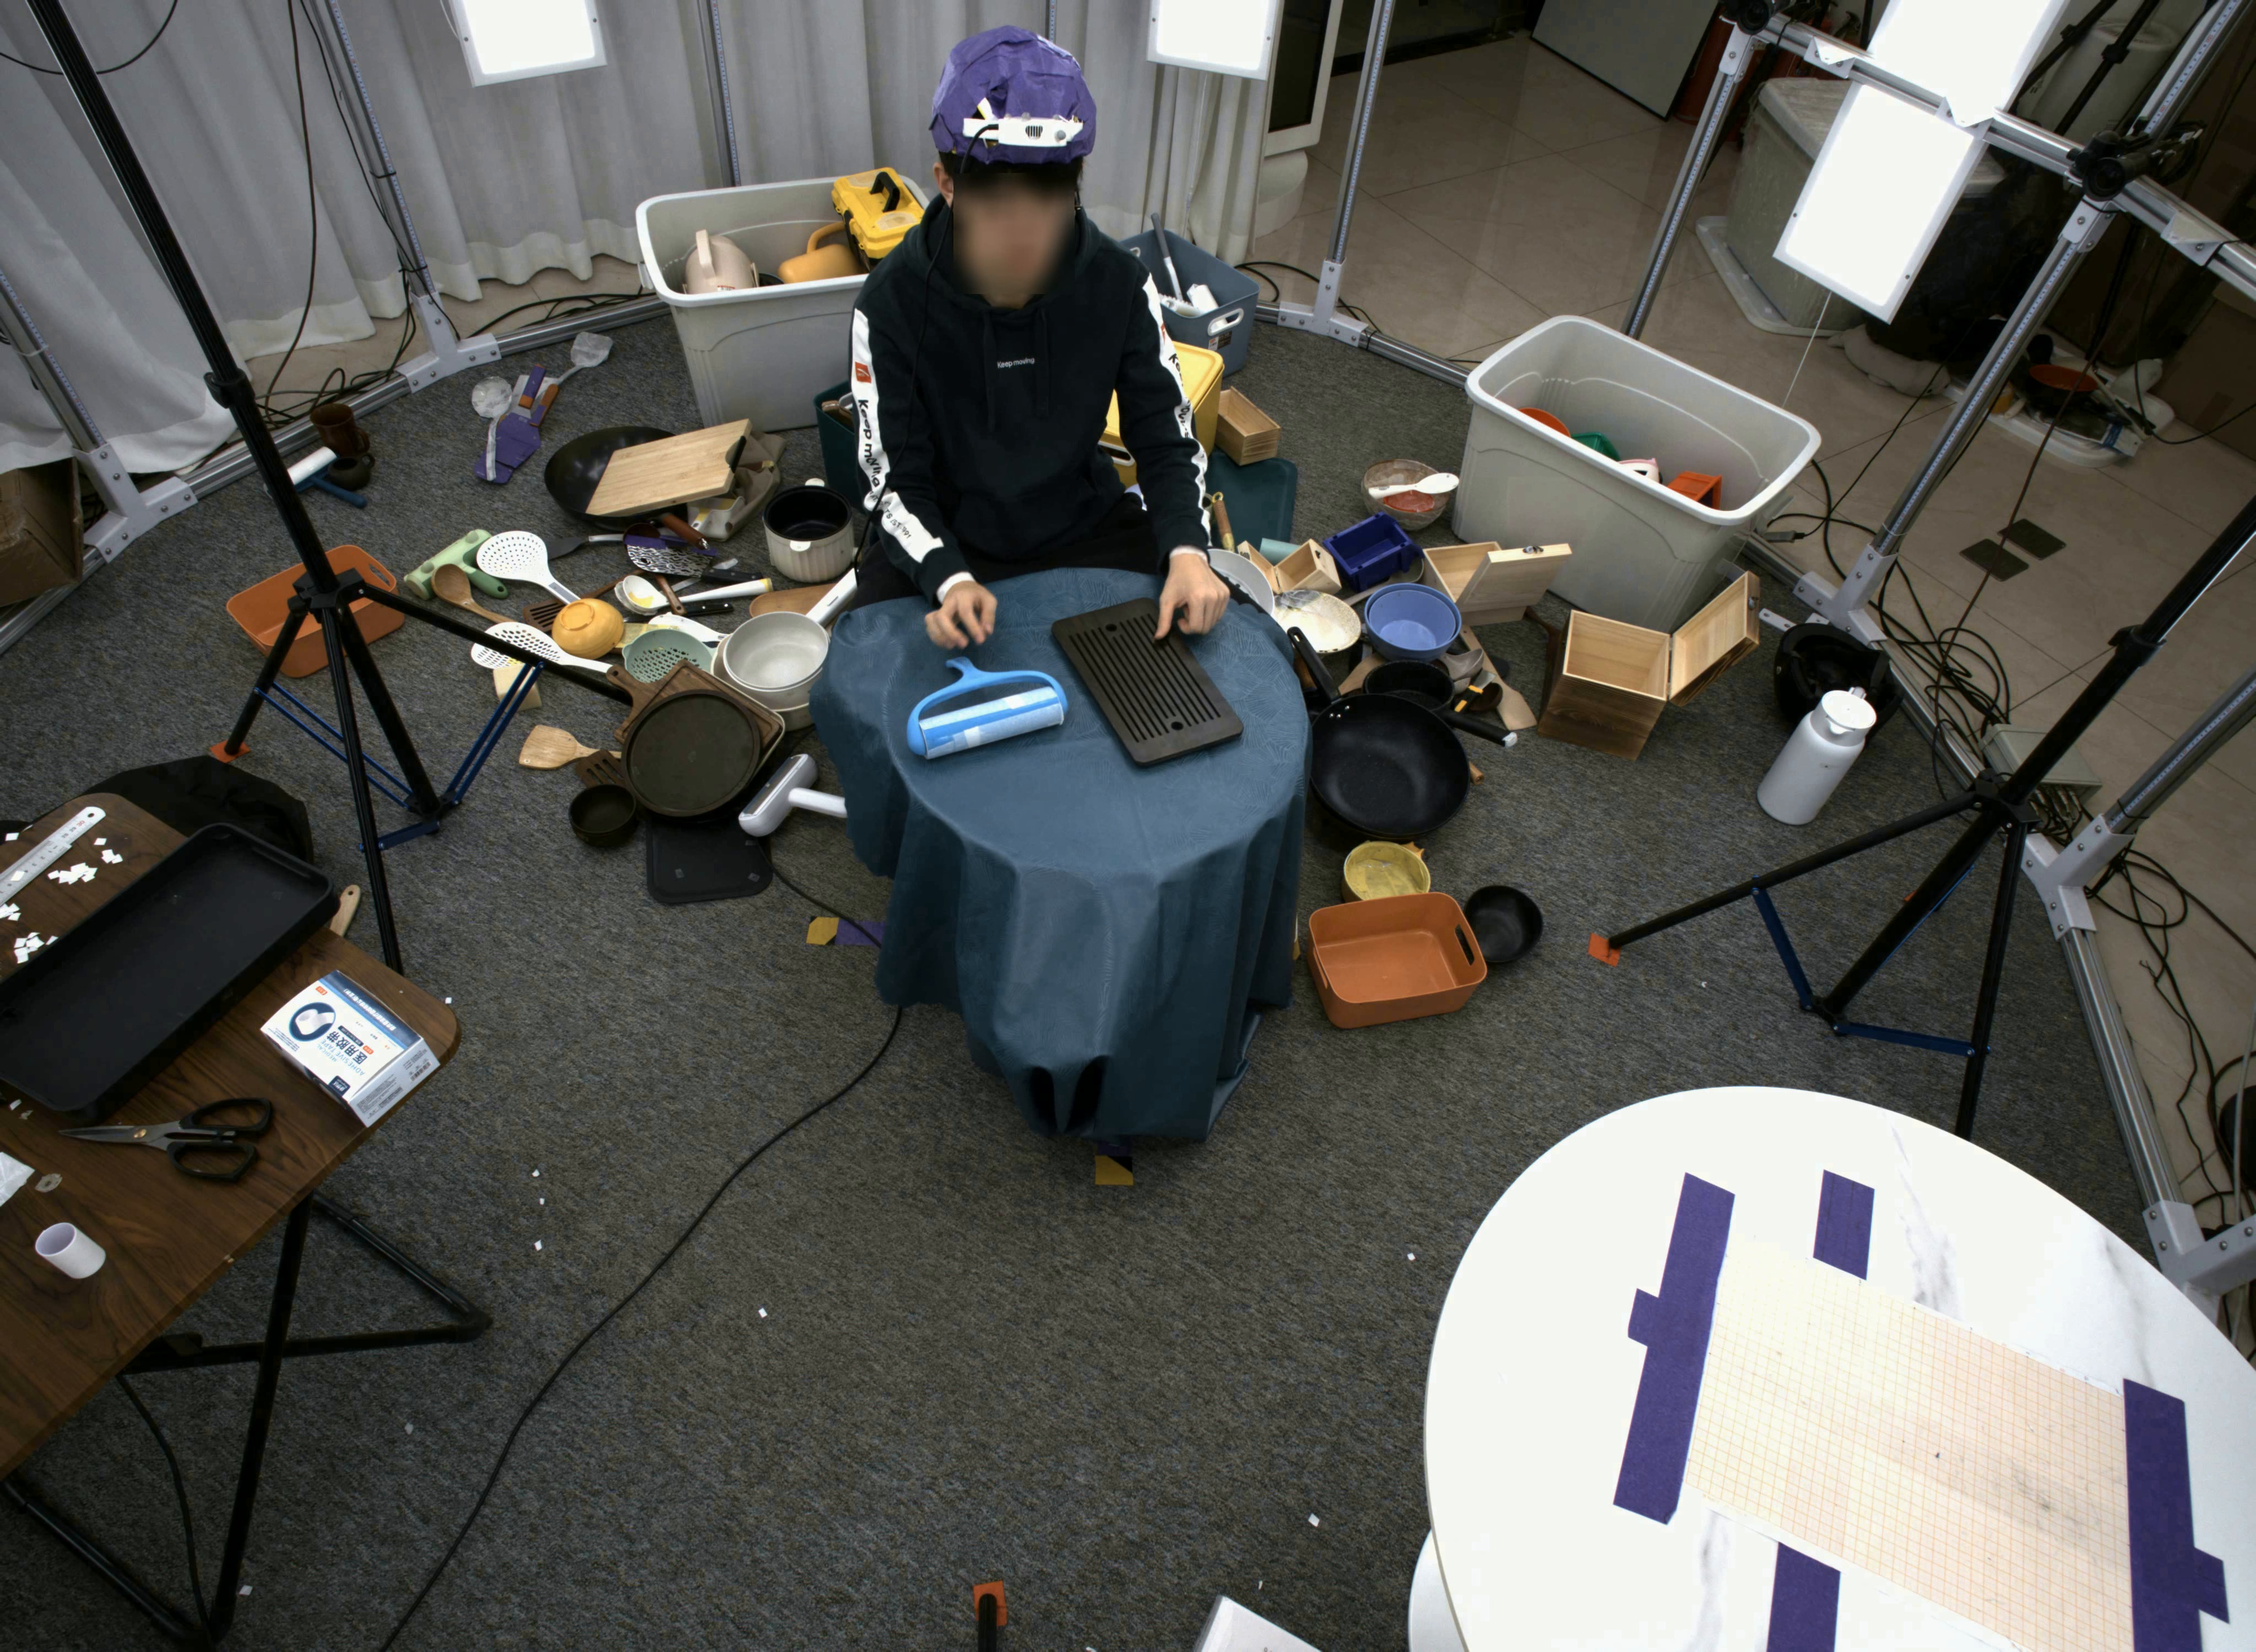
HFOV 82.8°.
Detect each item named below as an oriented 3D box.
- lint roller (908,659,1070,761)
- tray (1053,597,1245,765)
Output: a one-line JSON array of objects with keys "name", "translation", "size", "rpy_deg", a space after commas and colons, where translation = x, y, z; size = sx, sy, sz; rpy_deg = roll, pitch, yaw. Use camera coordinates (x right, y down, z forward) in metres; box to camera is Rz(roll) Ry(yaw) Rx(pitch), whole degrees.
[{"name": "lint roller", "translation": [-0.213, -0.184, 1.777], "size": [0.229, 0.066, 0.184], "rpy_deg": [-20, 55, -18]}, {"name": "tray", "translation": [0.026, -0.212, 1.842], "size": [0.170, 0.018, 0.313], "rpy_deg": [-18, 53, -18]}]
